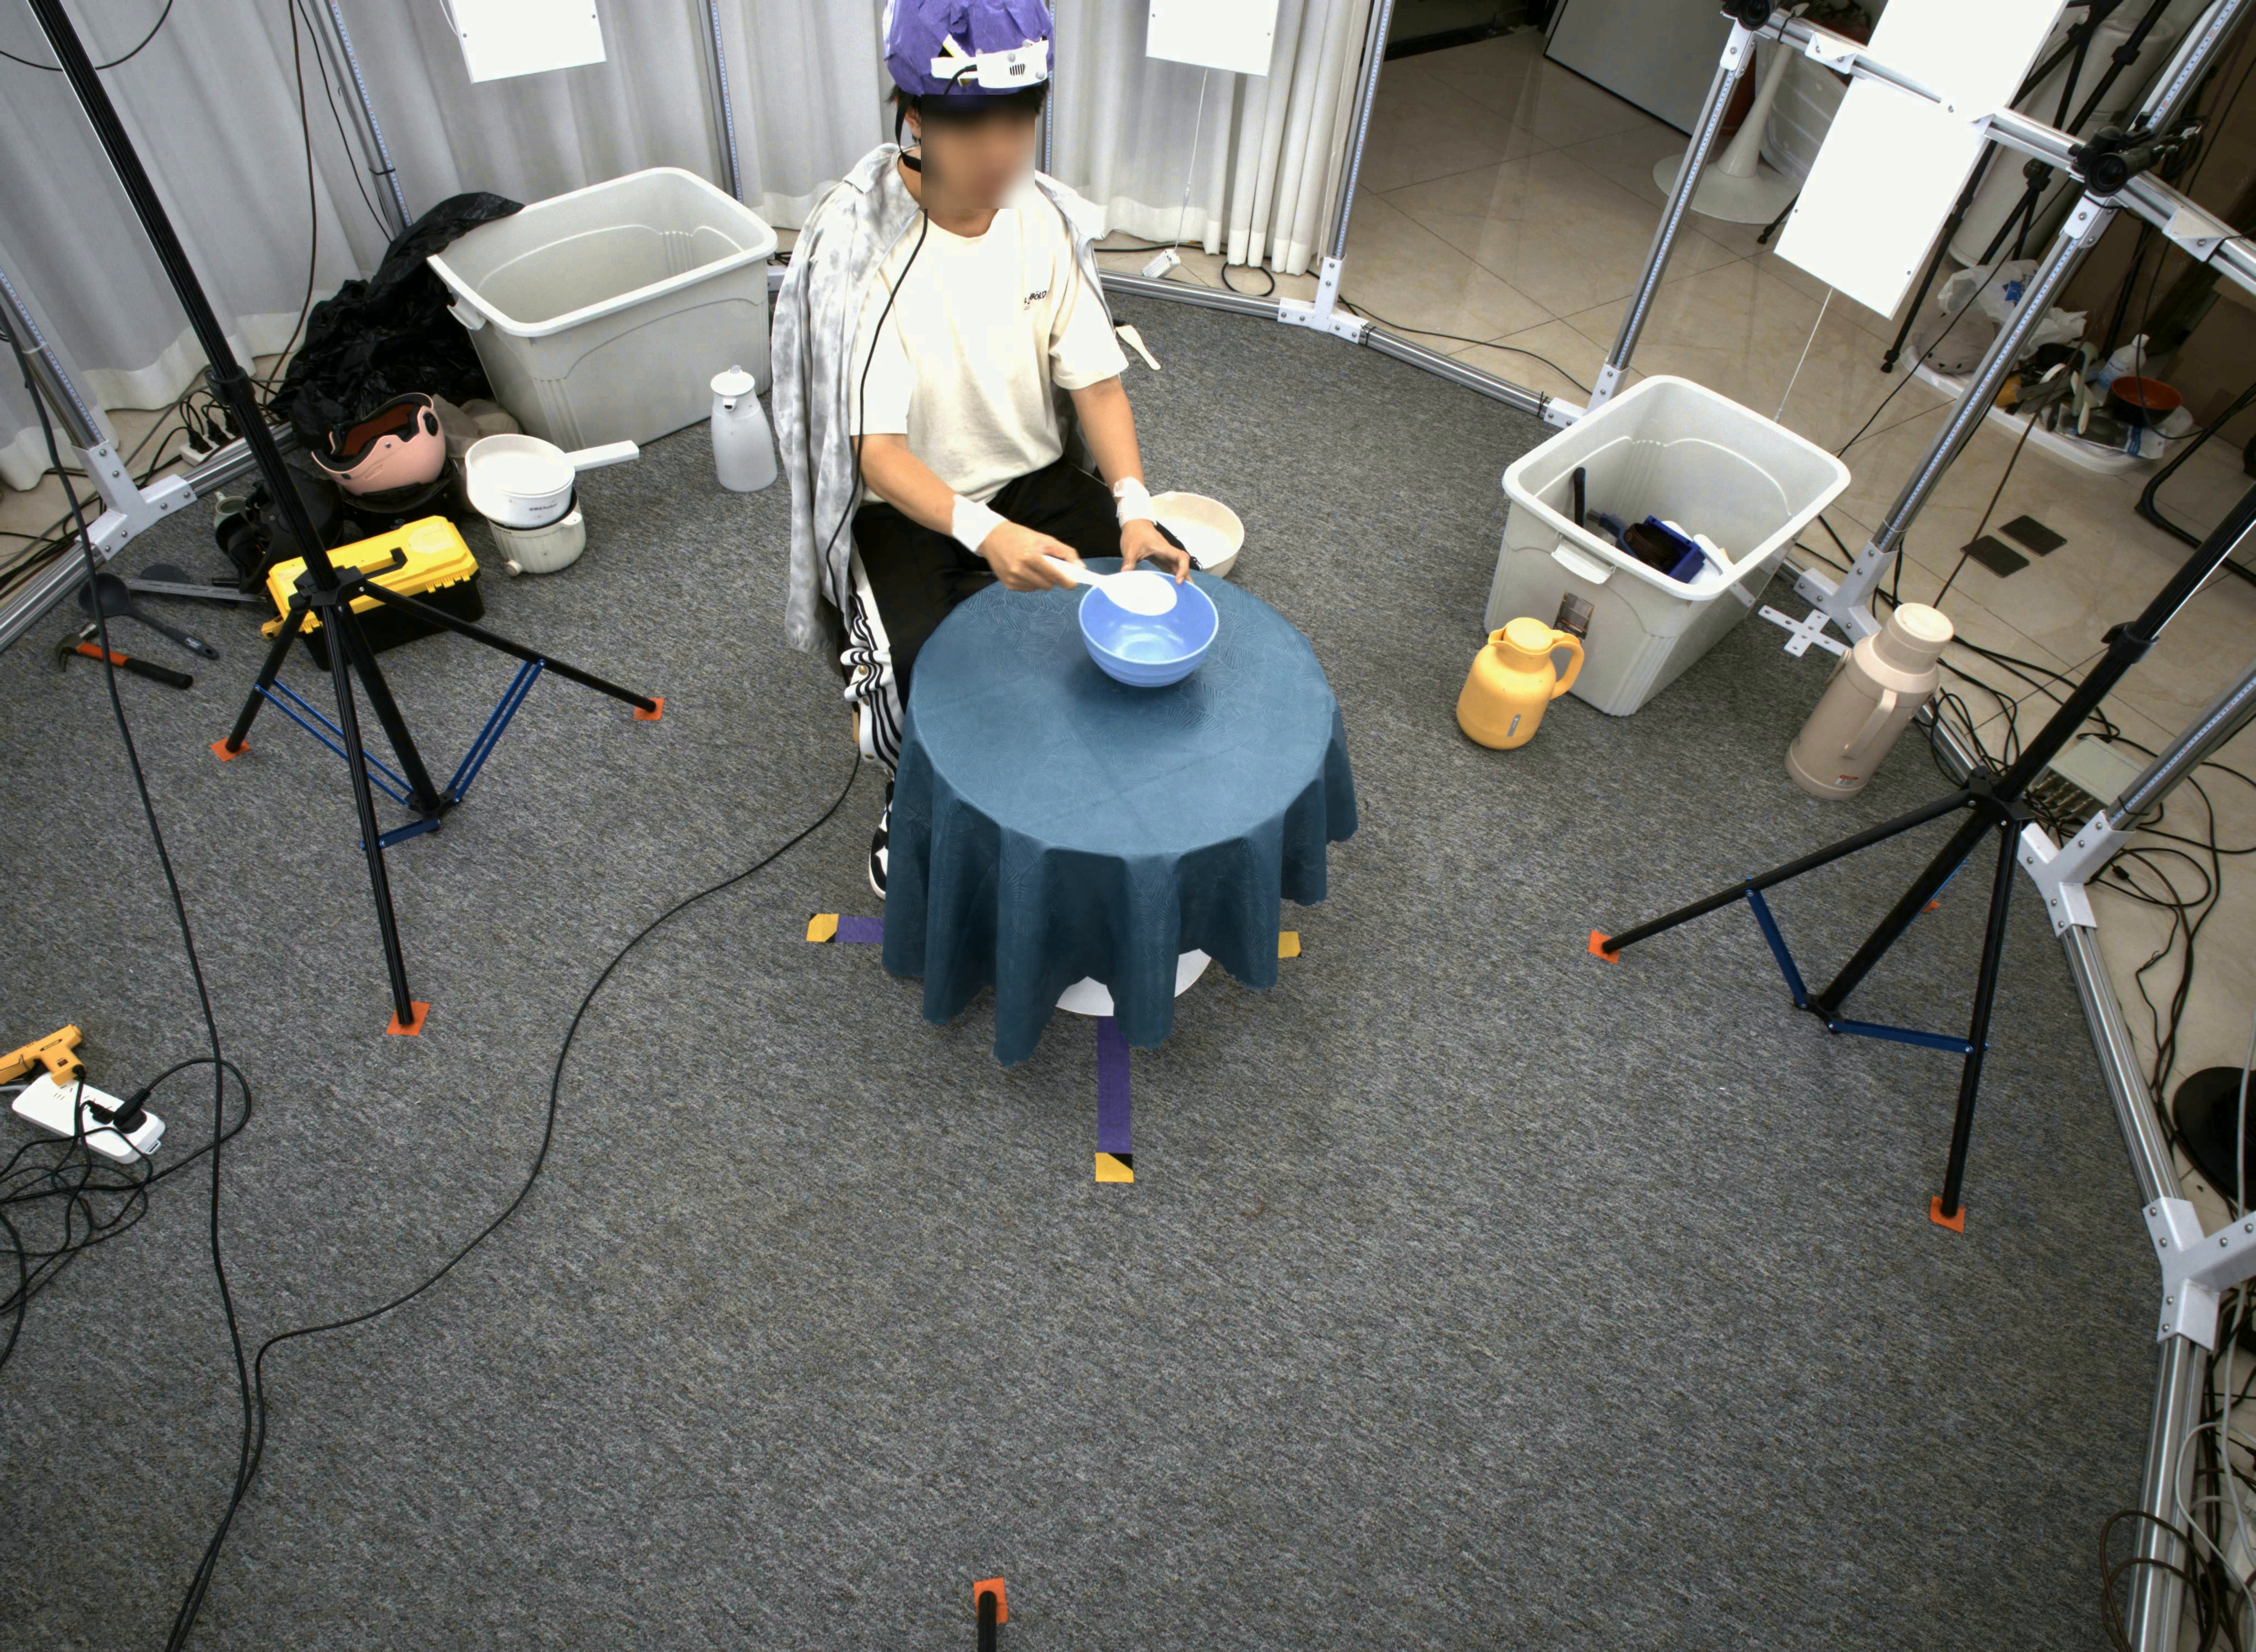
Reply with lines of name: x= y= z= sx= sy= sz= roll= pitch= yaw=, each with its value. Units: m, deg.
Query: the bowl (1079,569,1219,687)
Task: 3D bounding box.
bowl: x=0.027 y=-0.267 z=1.833 sx=0.196 sy=0.093 sz=0.201 roll=2 pitch=50 yaw=-3

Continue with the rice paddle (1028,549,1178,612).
rice paddle: x=-0.031 y=-0.331 z=1.720 sx=0.205 sy=0.029 sz=0.070 roll=14 pitch=61 yaw=1
